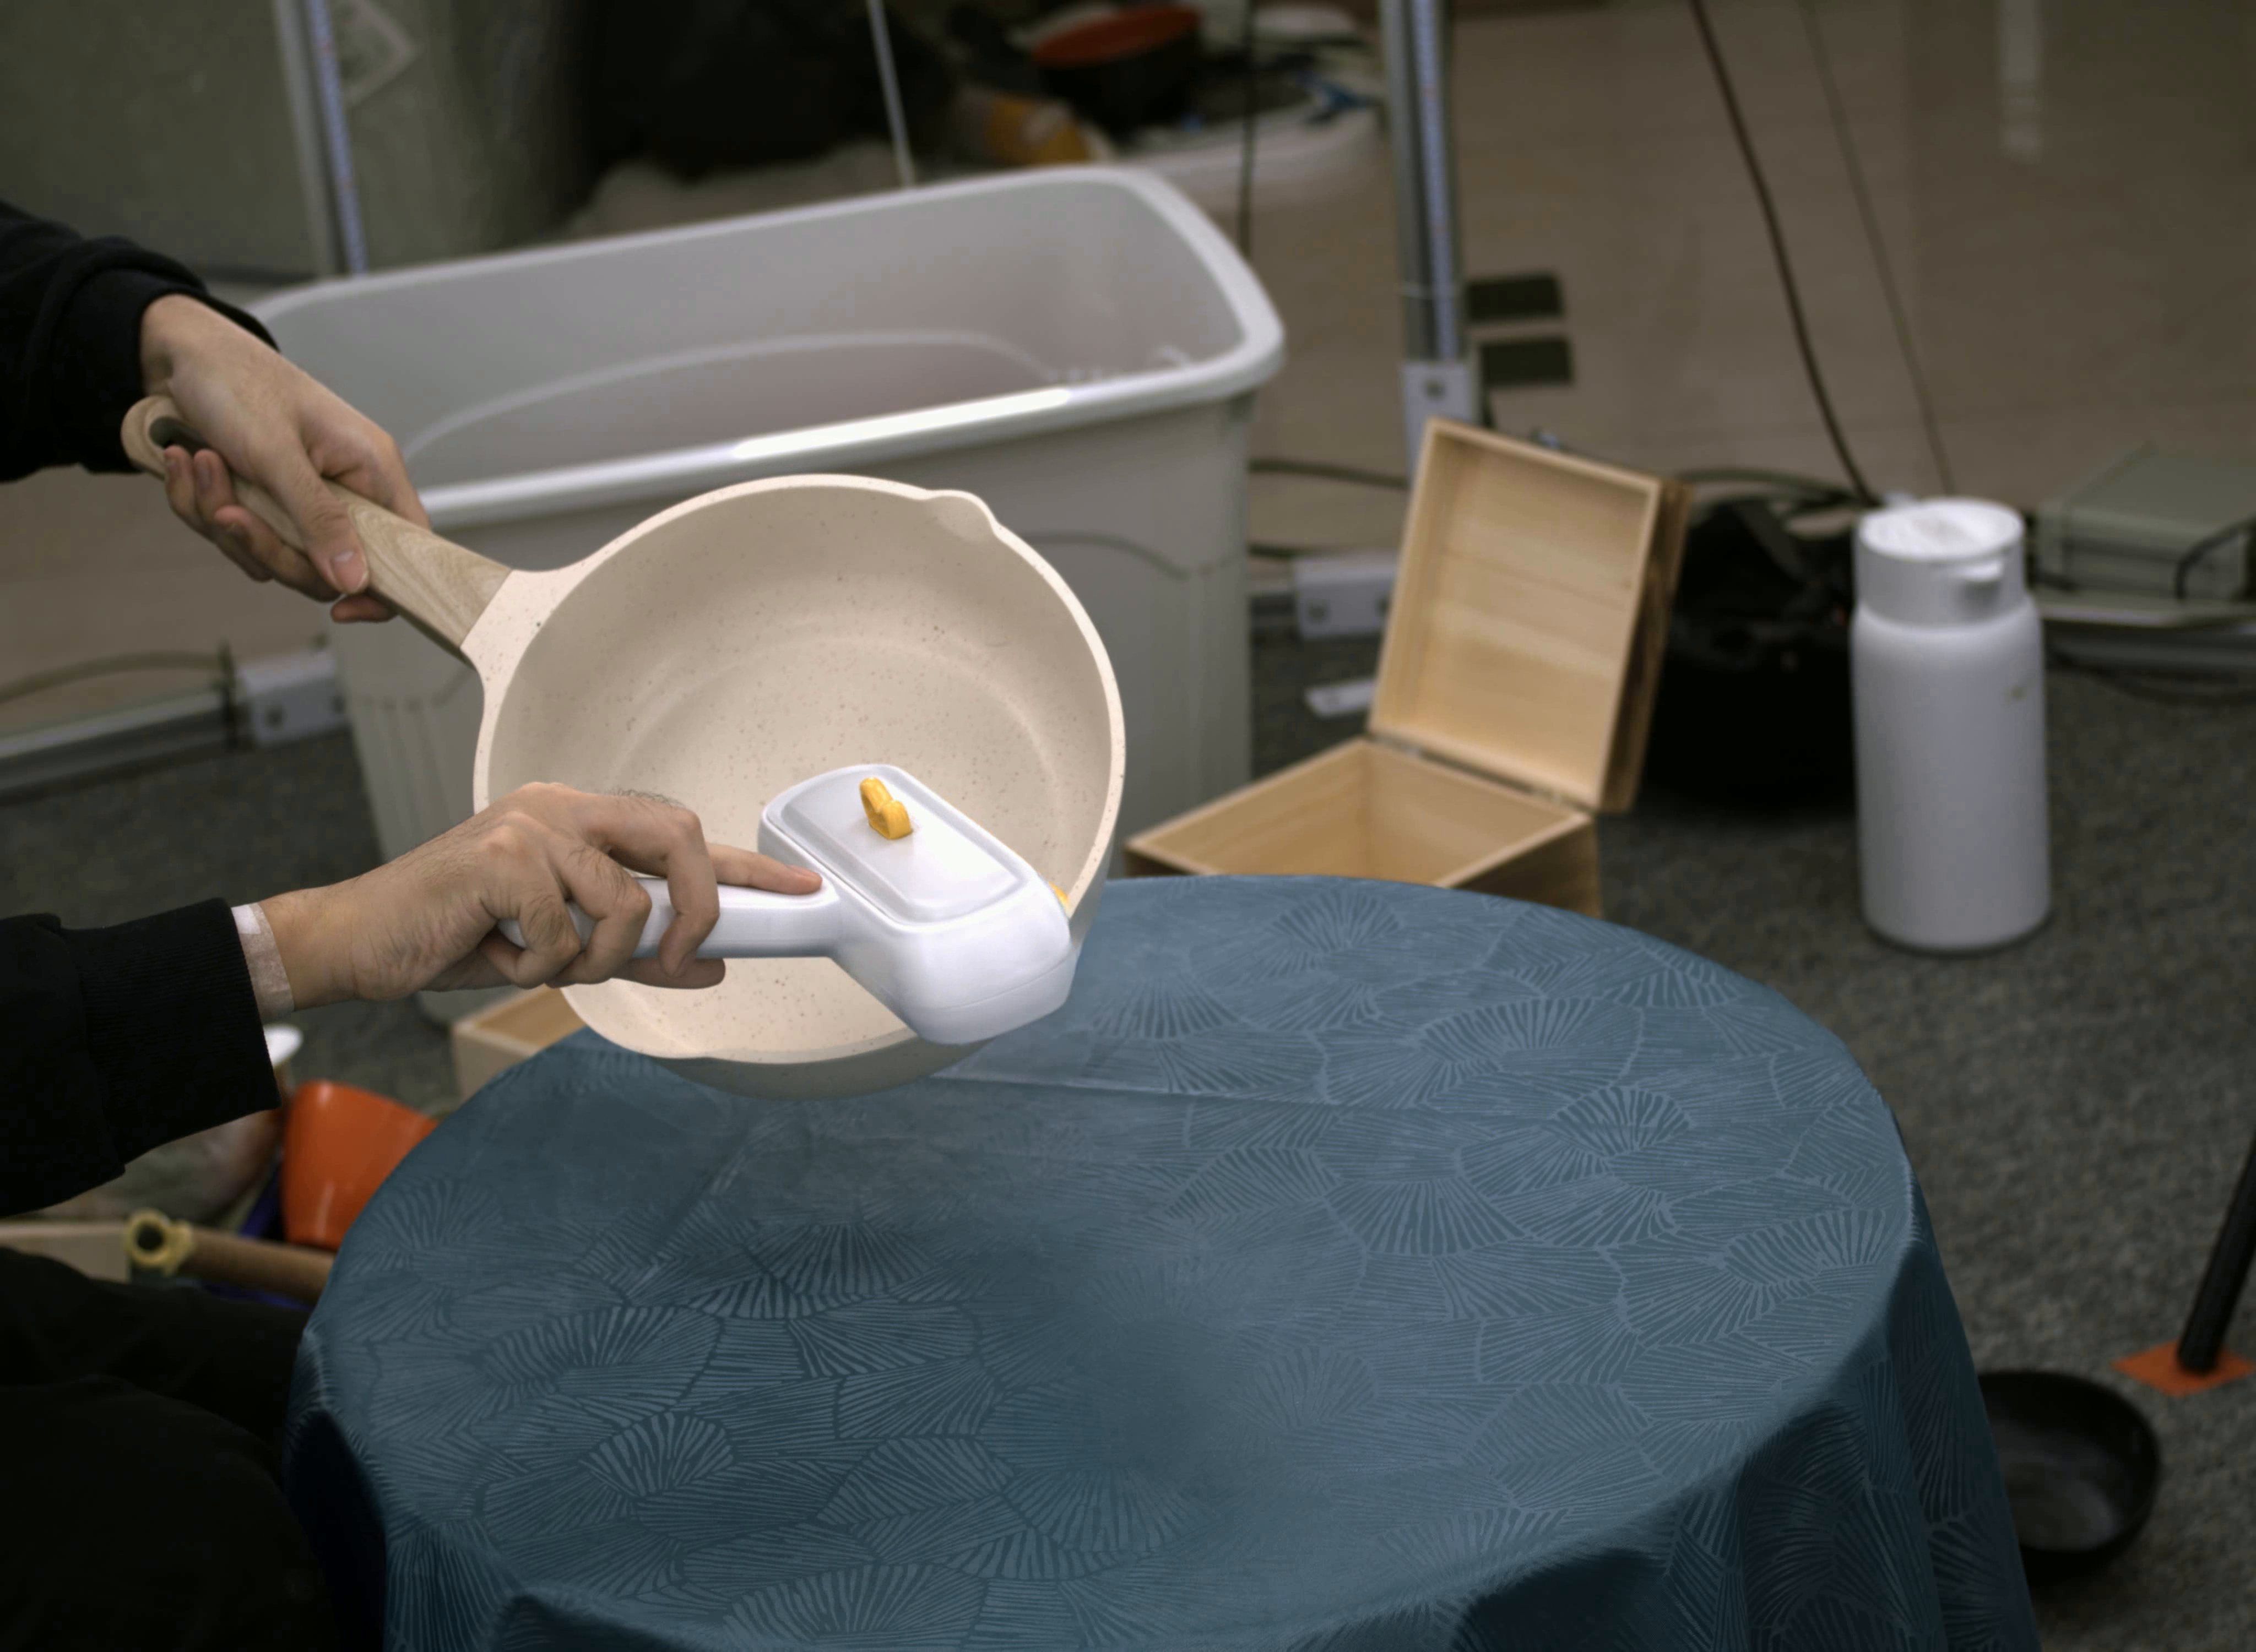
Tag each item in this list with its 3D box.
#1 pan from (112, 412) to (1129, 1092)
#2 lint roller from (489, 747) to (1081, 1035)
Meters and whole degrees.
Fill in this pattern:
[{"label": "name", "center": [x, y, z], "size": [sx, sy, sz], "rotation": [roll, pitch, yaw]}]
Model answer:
[{"label": "pan", "center": [-0.200, -0.052, 2.207], "size": [0.432, 0.103, 0.261], "rotation": [25, 73, 16]}, {"label": "lint roller", "center": [-0.132, 0.031, 1.996], "size": [0.191, 0.075, 0.190], "rotation": [-15, 26, -22]}]
